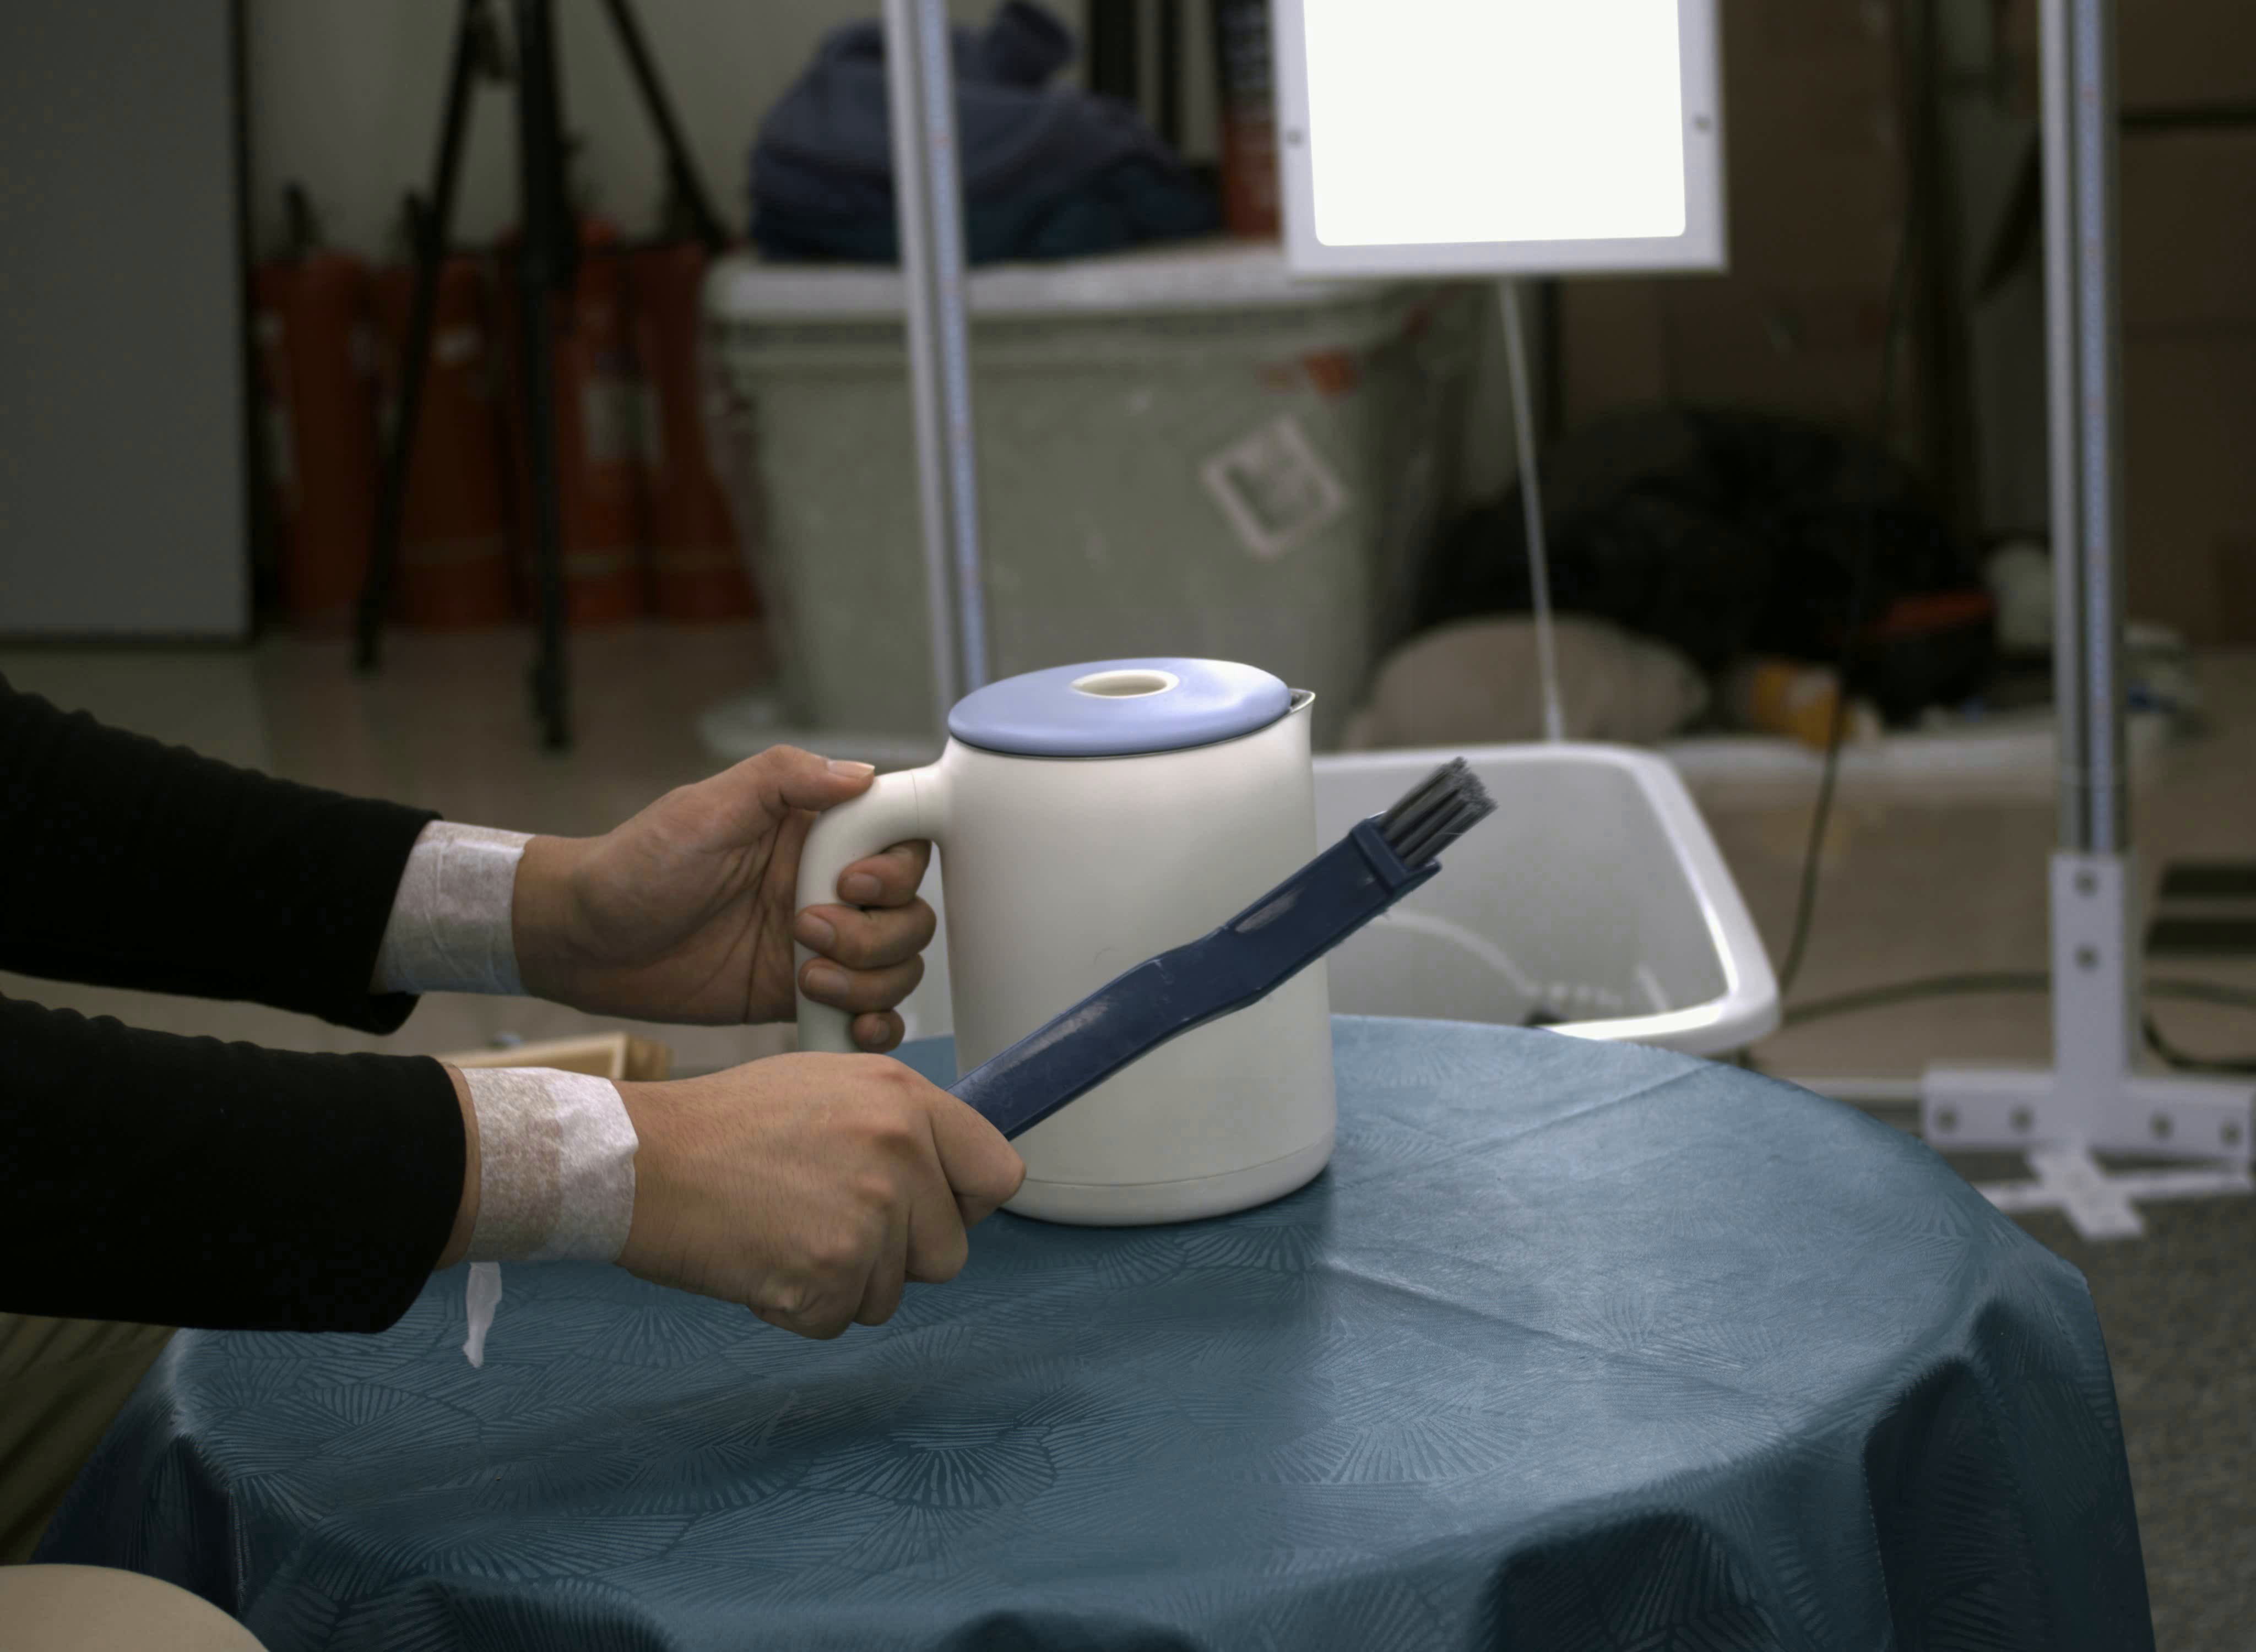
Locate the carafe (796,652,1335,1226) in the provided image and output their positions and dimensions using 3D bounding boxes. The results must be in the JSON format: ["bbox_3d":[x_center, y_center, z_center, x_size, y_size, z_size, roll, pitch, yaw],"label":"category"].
[{"bbox_3d":[-0.022,0.041,1.892,0.189,0.183,0.133,-8,14,-9],"label":"carafe"}]

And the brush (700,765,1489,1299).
[{"bbox_3d":[-0.010,0.062,1.728,0.268,0.033,0.097,-30,-10,-24],"label":"brush"}]
